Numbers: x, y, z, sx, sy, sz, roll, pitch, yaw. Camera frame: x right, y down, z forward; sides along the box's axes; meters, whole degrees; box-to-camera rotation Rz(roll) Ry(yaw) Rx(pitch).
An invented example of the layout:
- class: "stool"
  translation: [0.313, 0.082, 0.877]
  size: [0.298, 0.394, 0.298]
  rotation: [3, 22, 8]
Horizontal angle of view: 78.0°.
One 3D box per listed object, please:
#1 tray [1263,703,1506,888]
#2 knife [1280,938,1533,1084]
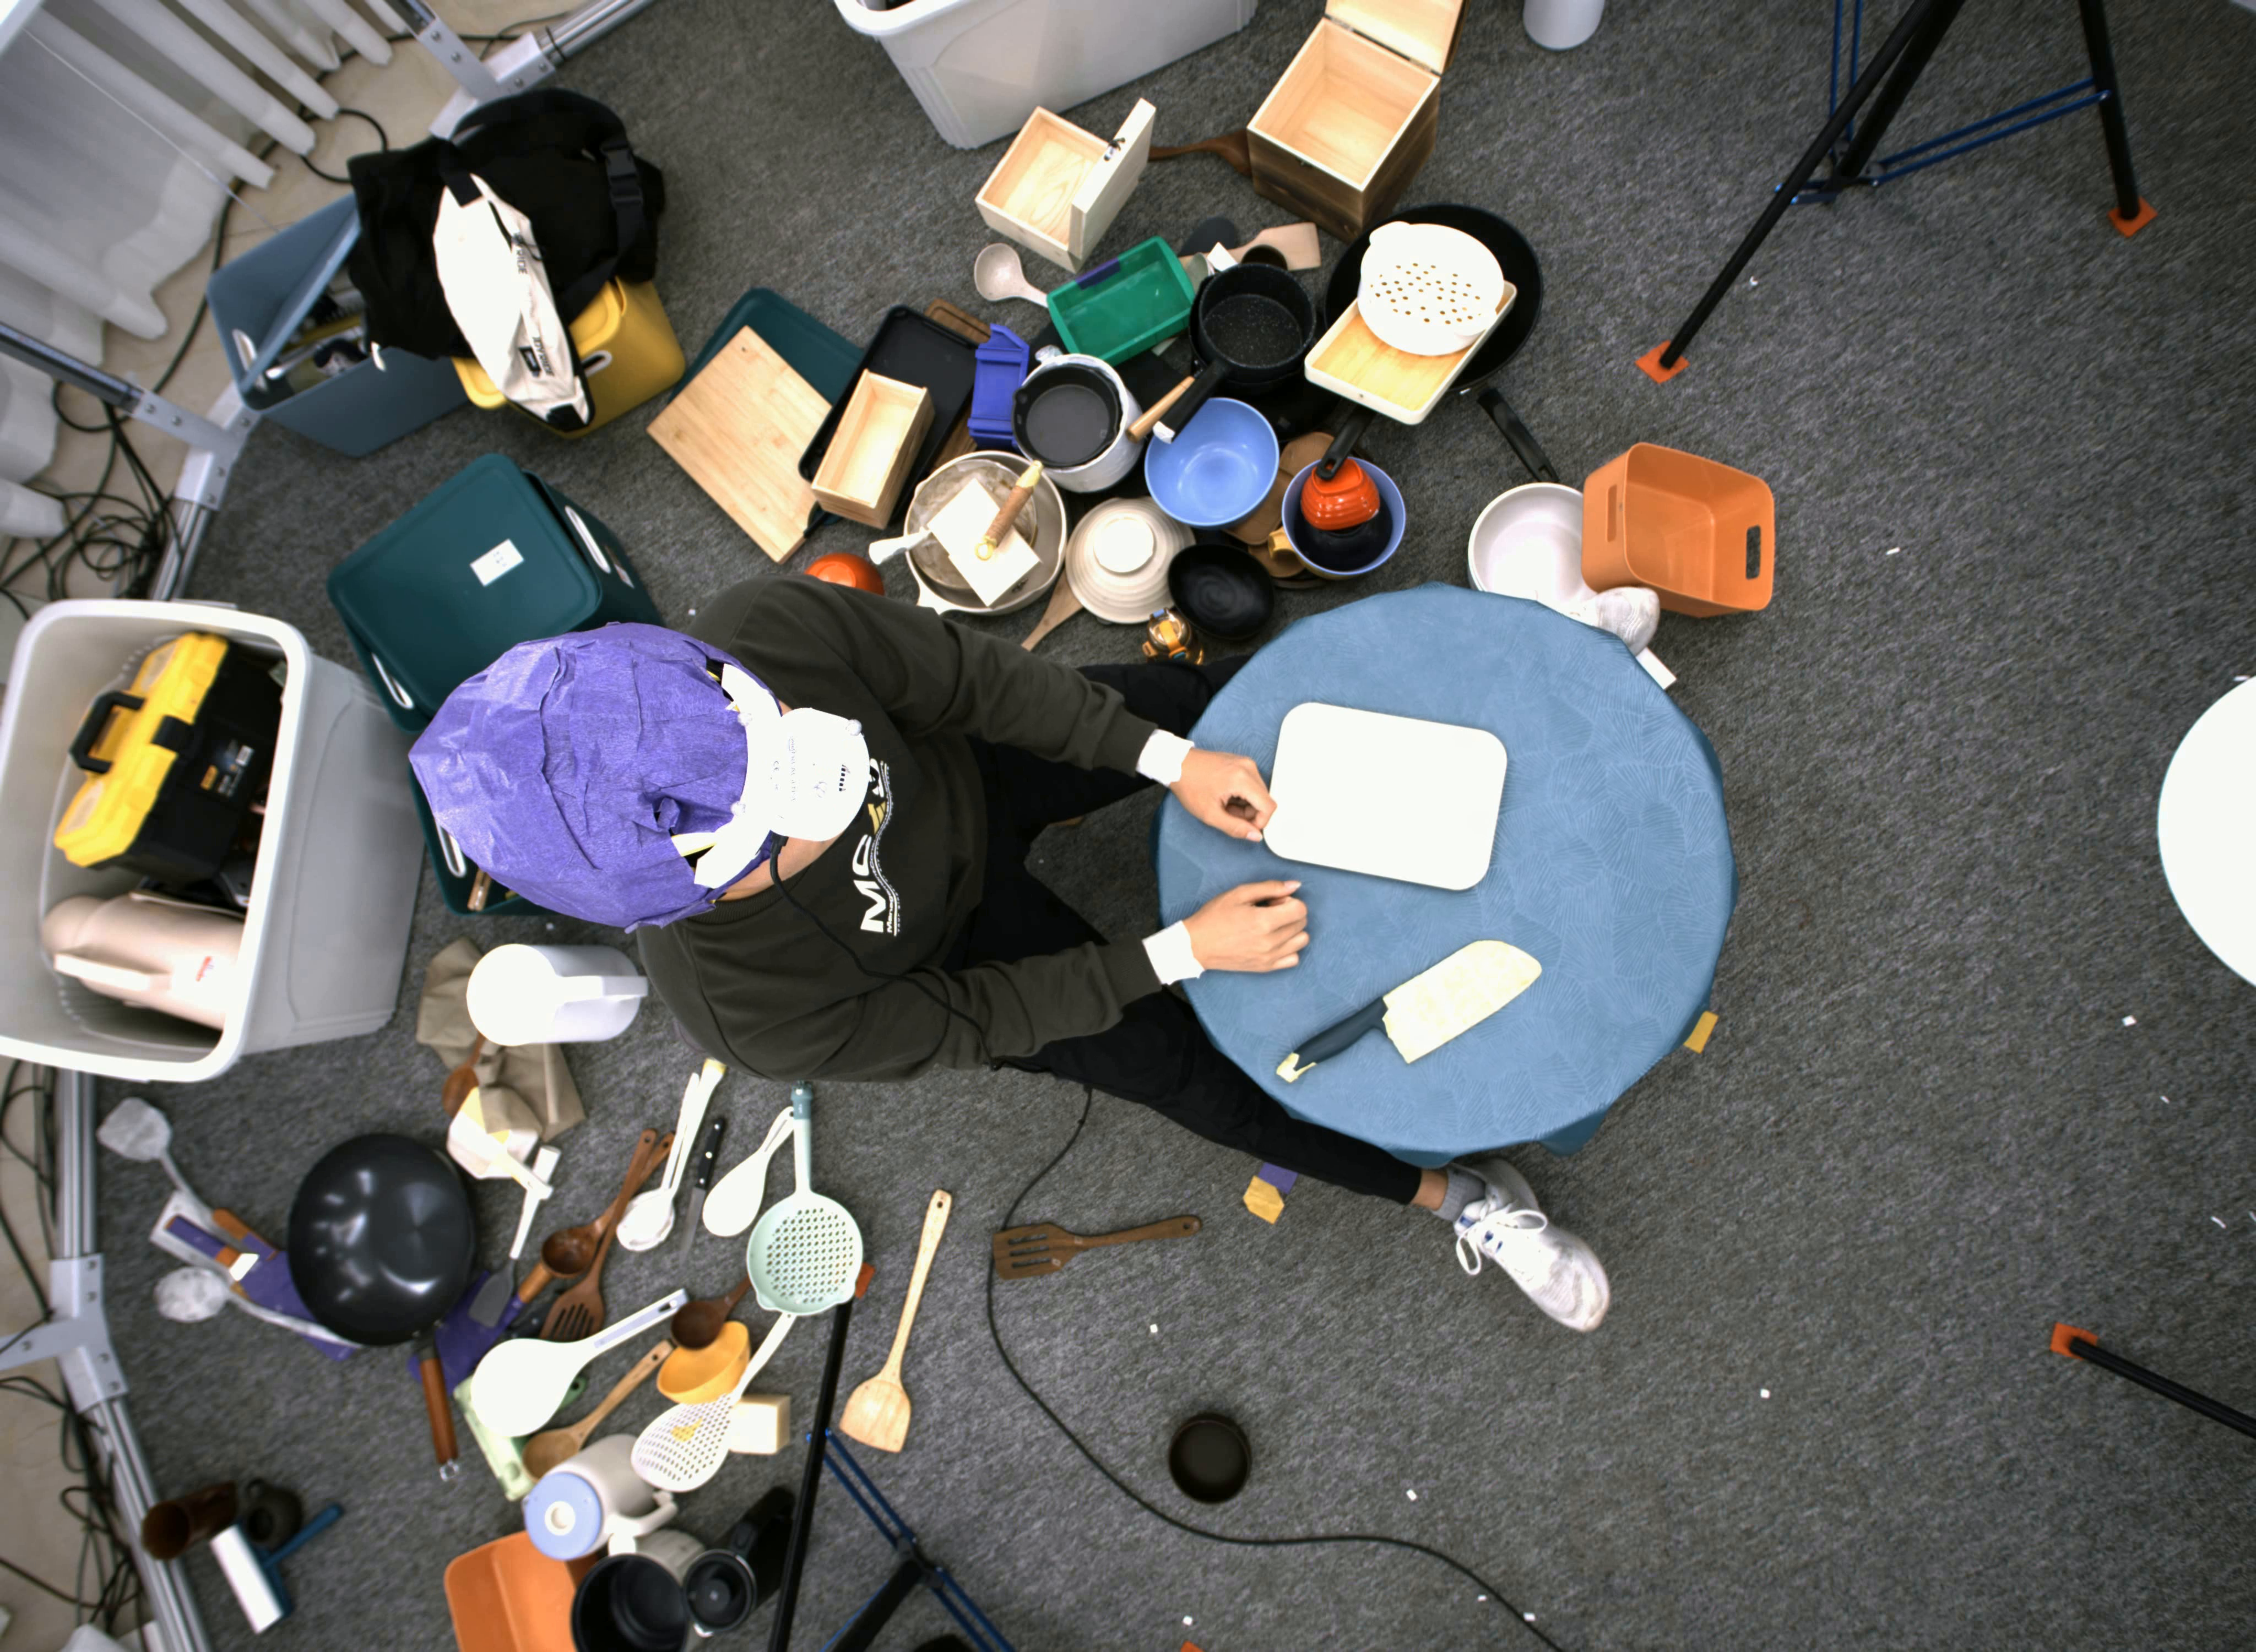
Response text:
- class: "tray"
  translation: [0.270, -0.034, 1.457]
  size: [0.240, 0.017, 0.171]
  rotation: [10, 89, 11]
- class: "knife"
  translation: [0.293, 0.201, 1.441]
  size: [0.291, 0.027, 0.080]
  rotation: [-29, 80, 7]
